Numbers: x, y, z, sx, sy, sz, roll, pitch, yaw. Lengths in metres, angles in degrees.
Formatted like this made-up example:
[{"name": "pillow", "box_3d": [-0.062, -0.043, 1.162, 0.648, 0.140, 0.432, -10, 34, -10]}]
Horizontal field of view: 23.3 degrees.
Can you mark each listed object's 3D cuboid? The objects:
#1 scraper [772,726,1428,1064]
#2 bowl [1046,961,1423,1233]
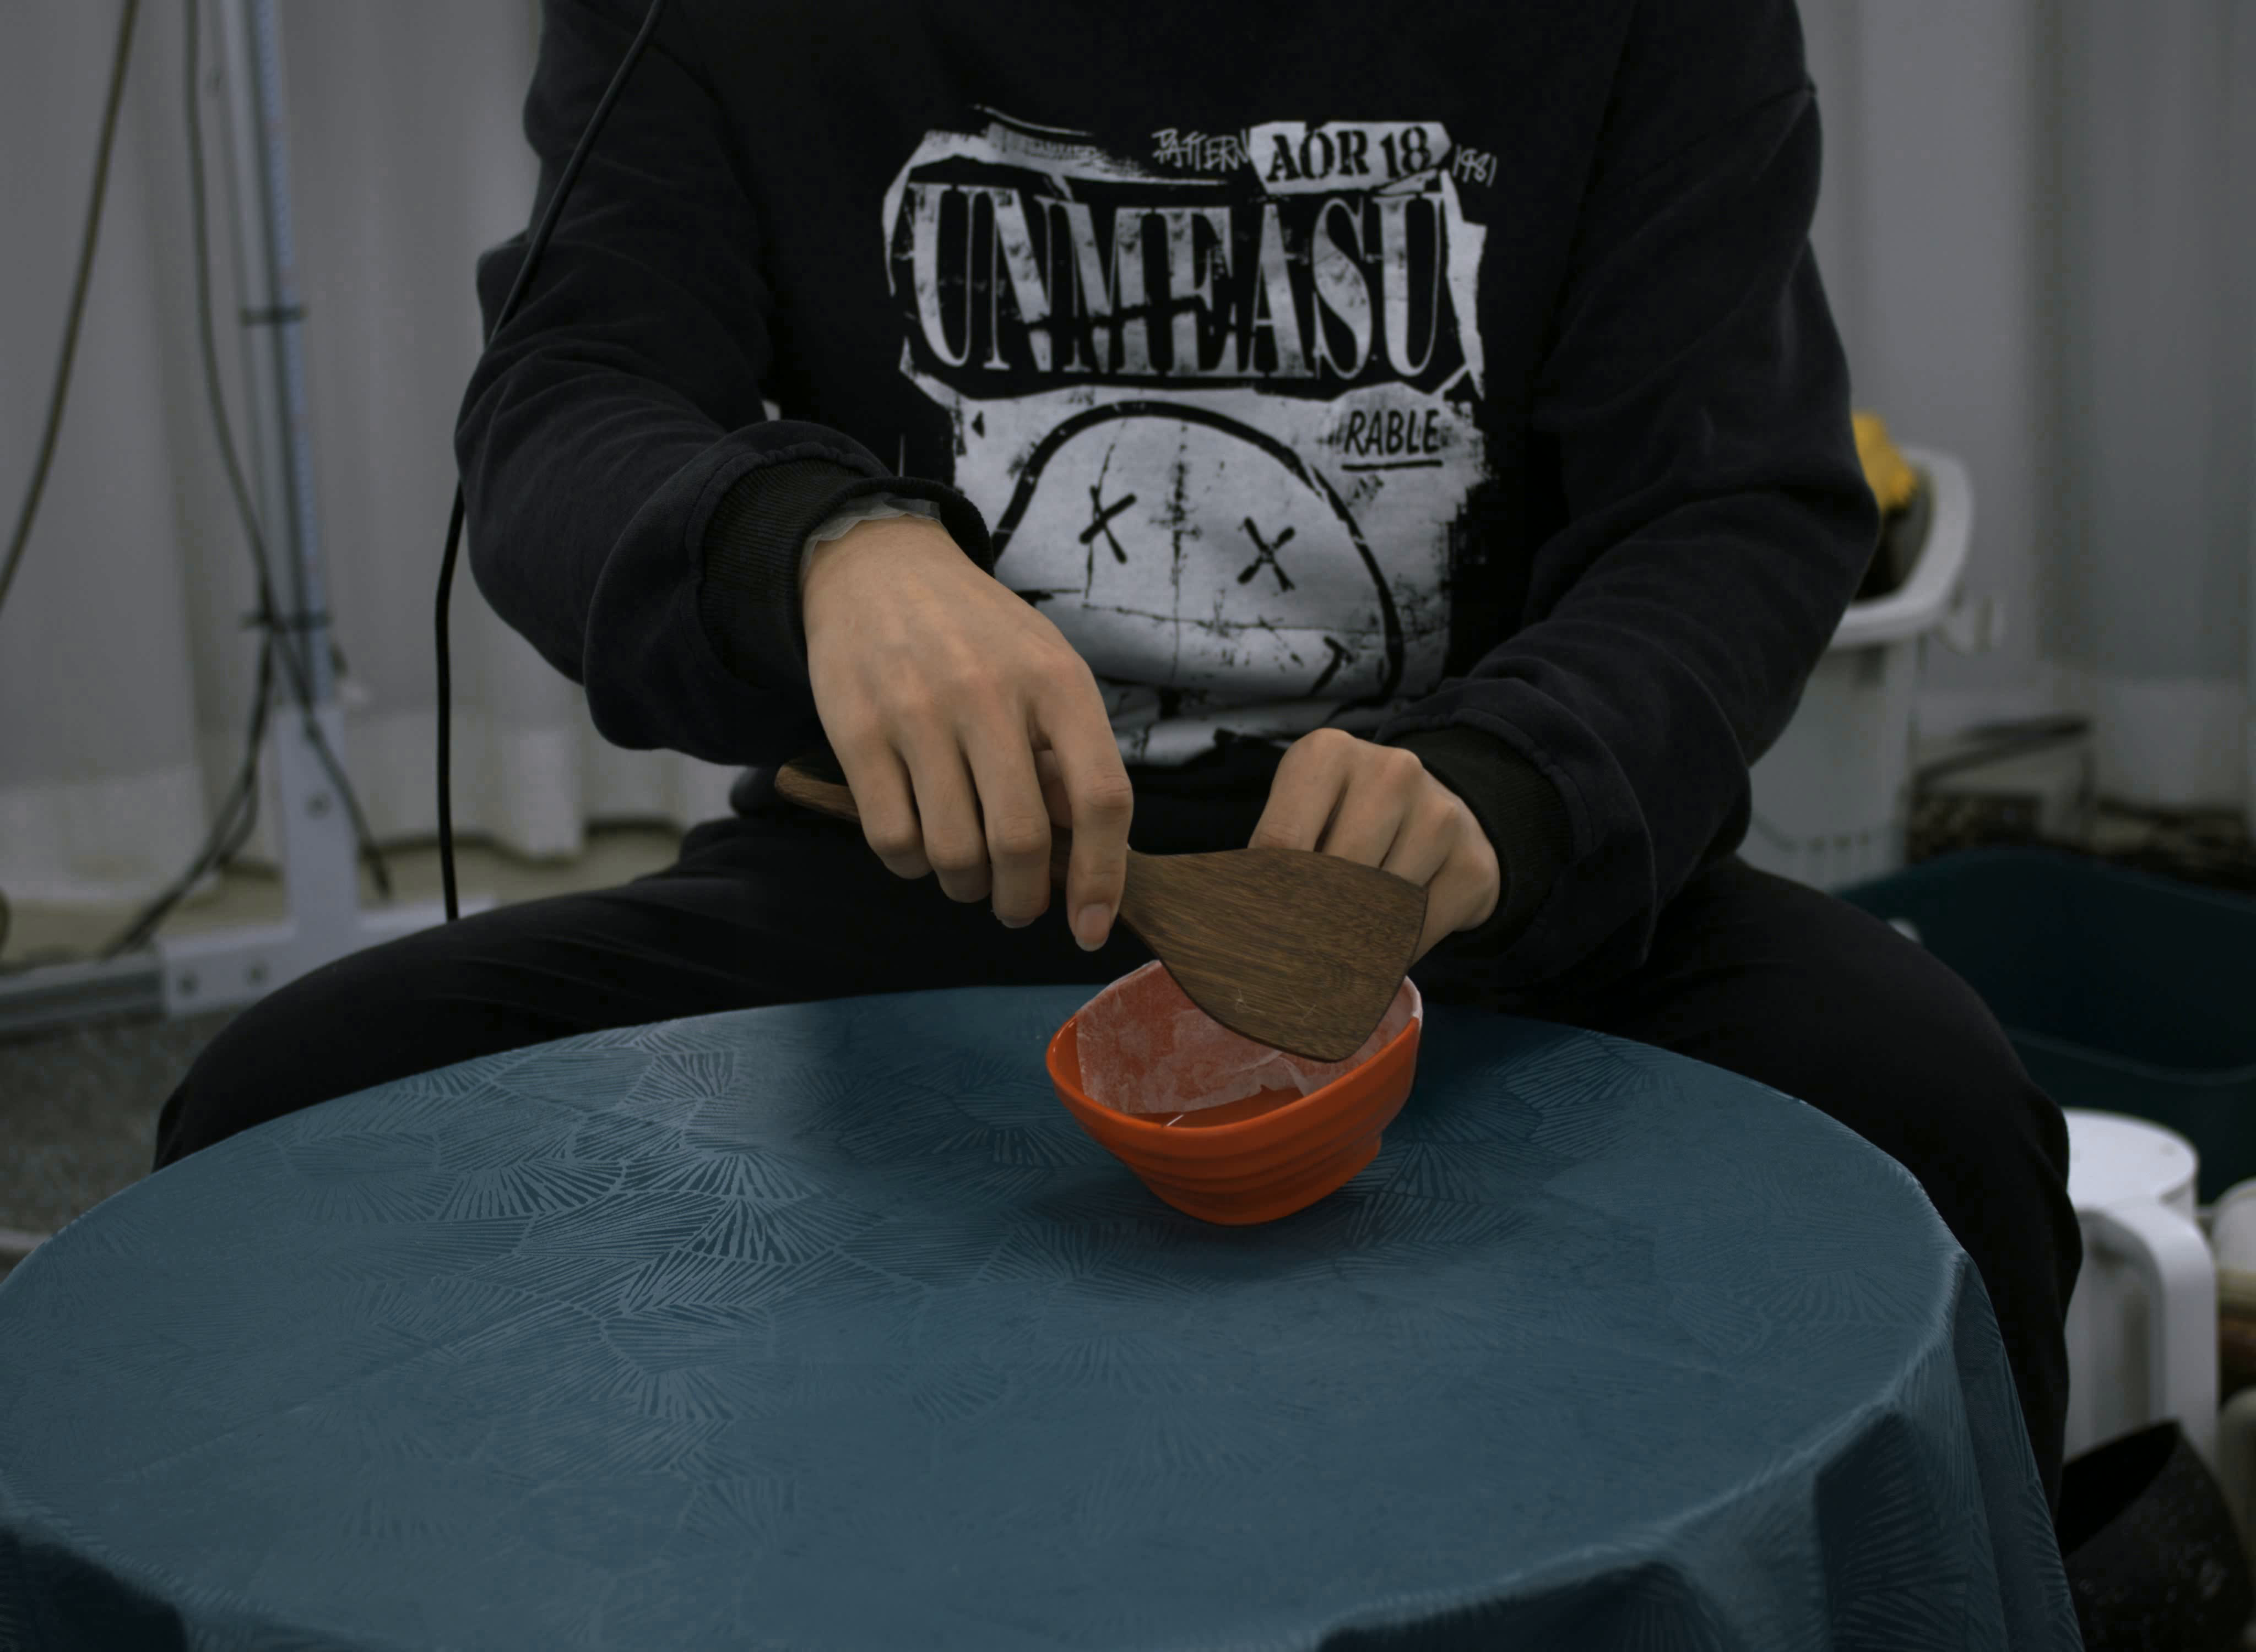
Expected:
[{"name": "scraper", "box_3d": [-0.012, 0.013, 1.694, 0.211, 0.010, 0.076, 21, 55, 13]}, {"name": "bowl", "box_3d": [0.037, 0.084, 1.697, 0.118, 0.051, 0.120, -11, 28, 6]}]
